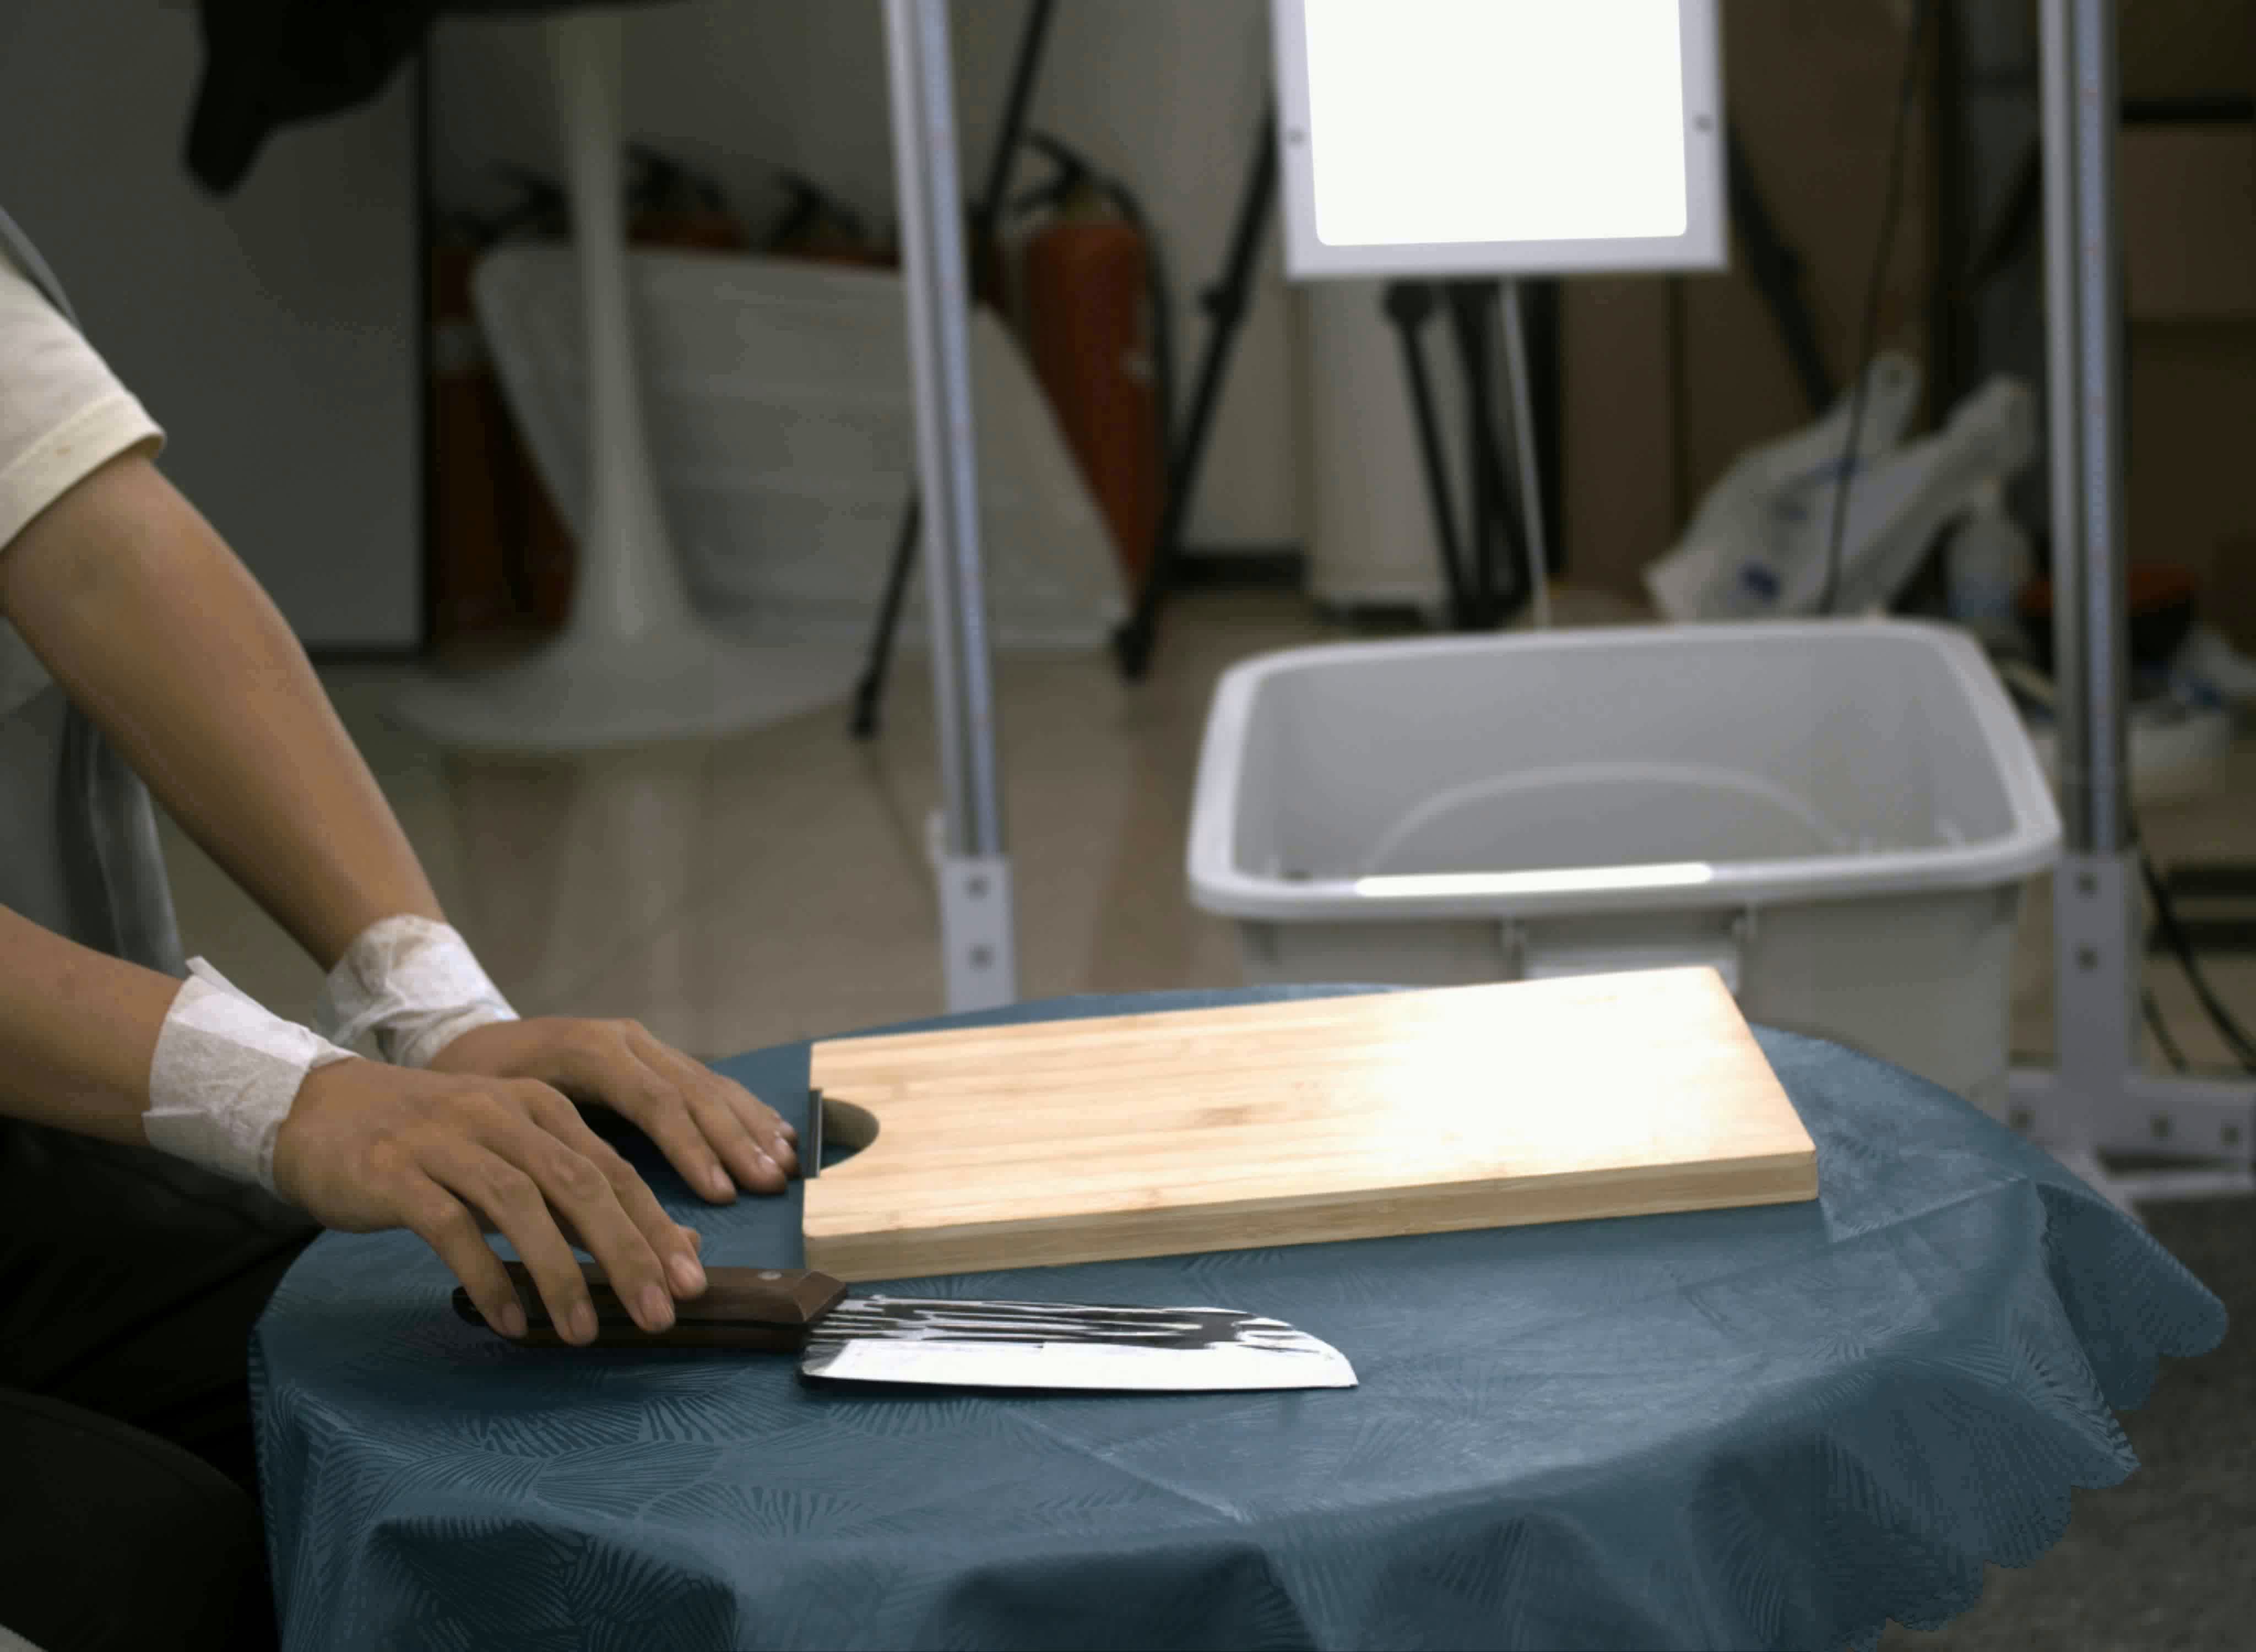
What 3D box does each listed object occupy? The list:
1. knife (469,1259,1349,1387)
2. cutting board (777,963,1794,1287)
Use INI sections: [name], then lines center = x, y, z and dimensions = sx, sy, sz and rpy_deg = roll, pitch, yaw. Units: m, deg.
[knife]
center = -0.073, 0.161, 1.742
dimensions = 0.302, 0.024, 0.067
rpy_deg = 1, 17, 15
[cutting board]
center = 0.051, 0.104, 1.939
dimensions = 0.347, 0.023, 0.250
rpy_deg = -5, 13, 0
